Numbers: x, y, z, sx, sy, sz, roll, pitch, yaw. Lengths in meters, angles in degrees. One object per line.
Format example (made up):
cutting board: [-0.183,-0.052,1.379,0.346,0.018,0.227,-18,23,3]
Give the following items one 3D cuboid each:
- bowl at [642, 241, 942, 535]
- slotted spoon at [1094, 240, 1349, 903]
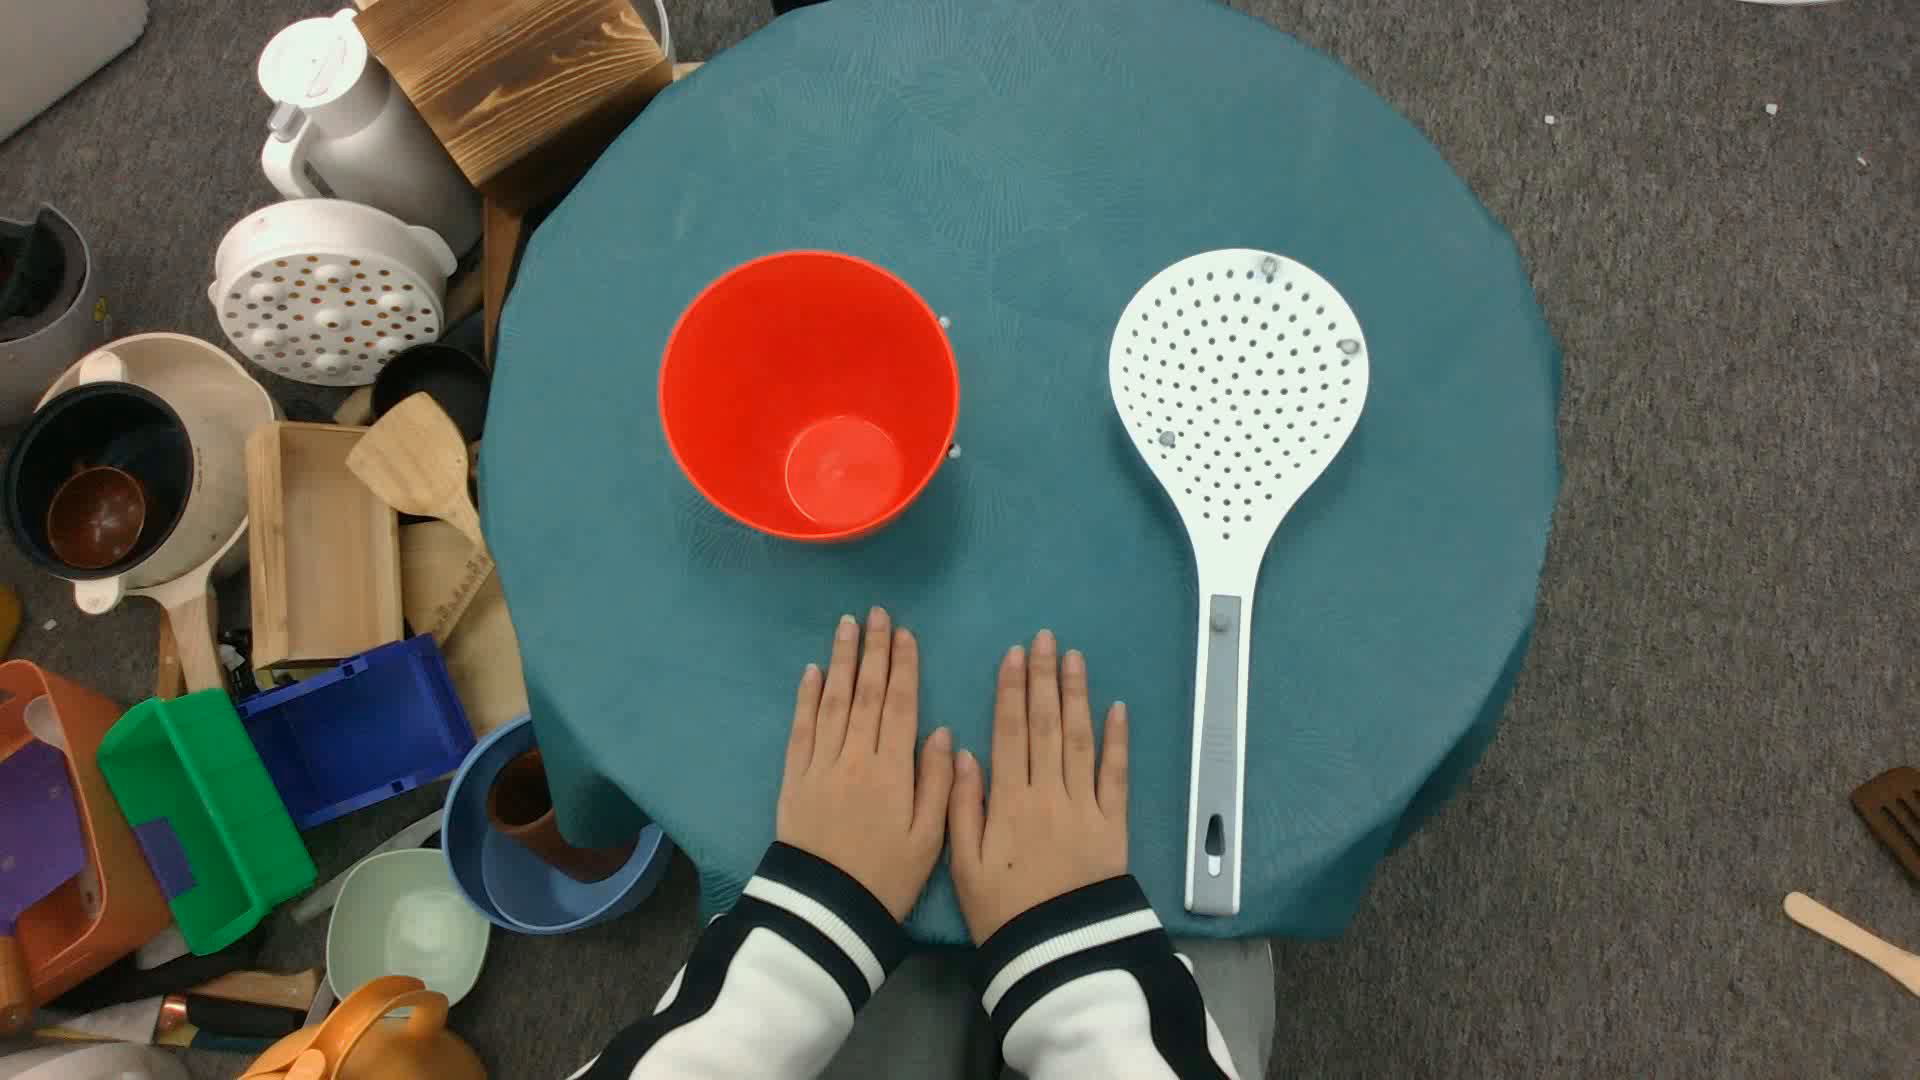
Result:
bowl: [-0.082,-0.066,0.719,0.148,0.104,0.148,0,71,-1]
slotted spoon: [0.130,0.008,0.718,0.136,0.045,0.351,4,71,4]
